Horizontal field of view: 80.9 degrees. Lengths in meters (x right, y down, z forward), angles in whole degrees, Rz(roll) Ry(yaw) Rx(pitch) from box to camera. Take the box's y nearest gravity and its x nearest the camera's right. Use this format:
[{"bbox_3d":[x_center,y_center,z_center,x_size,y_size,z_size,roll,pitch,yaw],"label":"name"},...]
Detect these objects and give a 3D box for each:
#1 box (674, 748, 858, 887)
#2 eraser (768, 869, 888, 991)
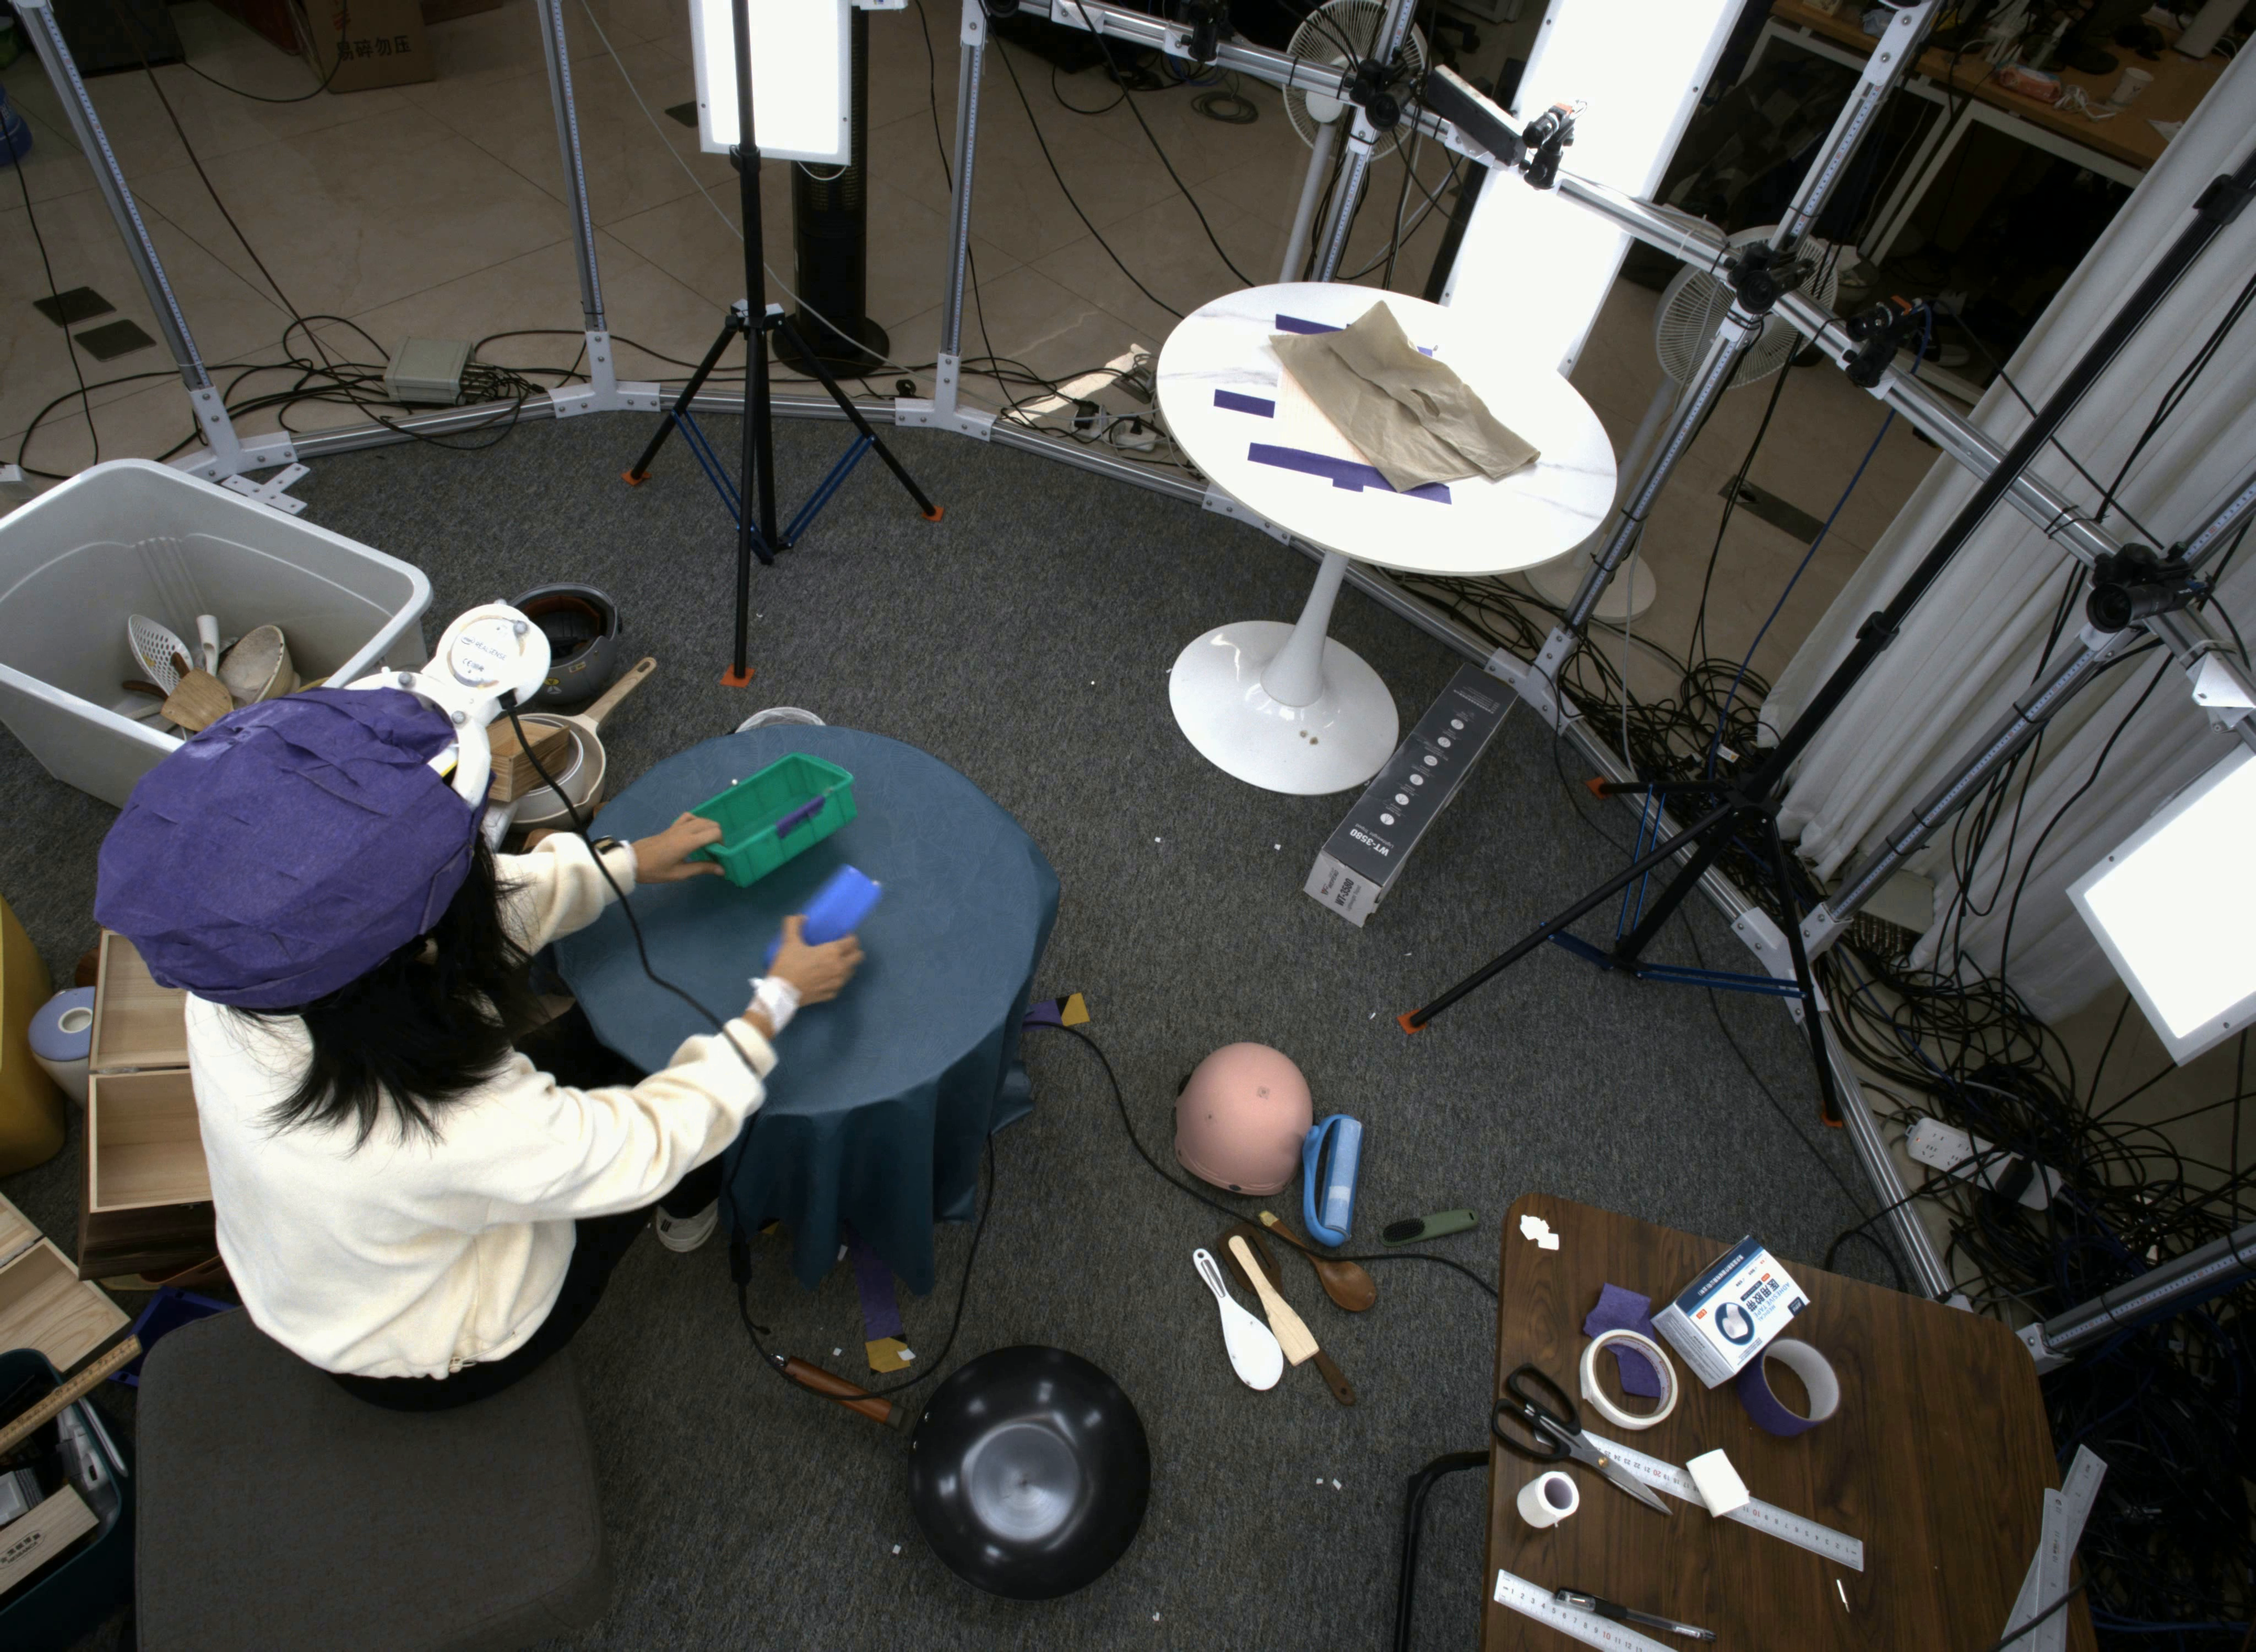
[{"bbox_3d":[-0.453,-0.013,1.642,0.133,0.067,0.211,22,44,33],"label":"box"},{"bbox_3d":[-0.356,0.122,1.550,0.162,0.046,0.055,-49,111,-19],"label":"eraser"}]
